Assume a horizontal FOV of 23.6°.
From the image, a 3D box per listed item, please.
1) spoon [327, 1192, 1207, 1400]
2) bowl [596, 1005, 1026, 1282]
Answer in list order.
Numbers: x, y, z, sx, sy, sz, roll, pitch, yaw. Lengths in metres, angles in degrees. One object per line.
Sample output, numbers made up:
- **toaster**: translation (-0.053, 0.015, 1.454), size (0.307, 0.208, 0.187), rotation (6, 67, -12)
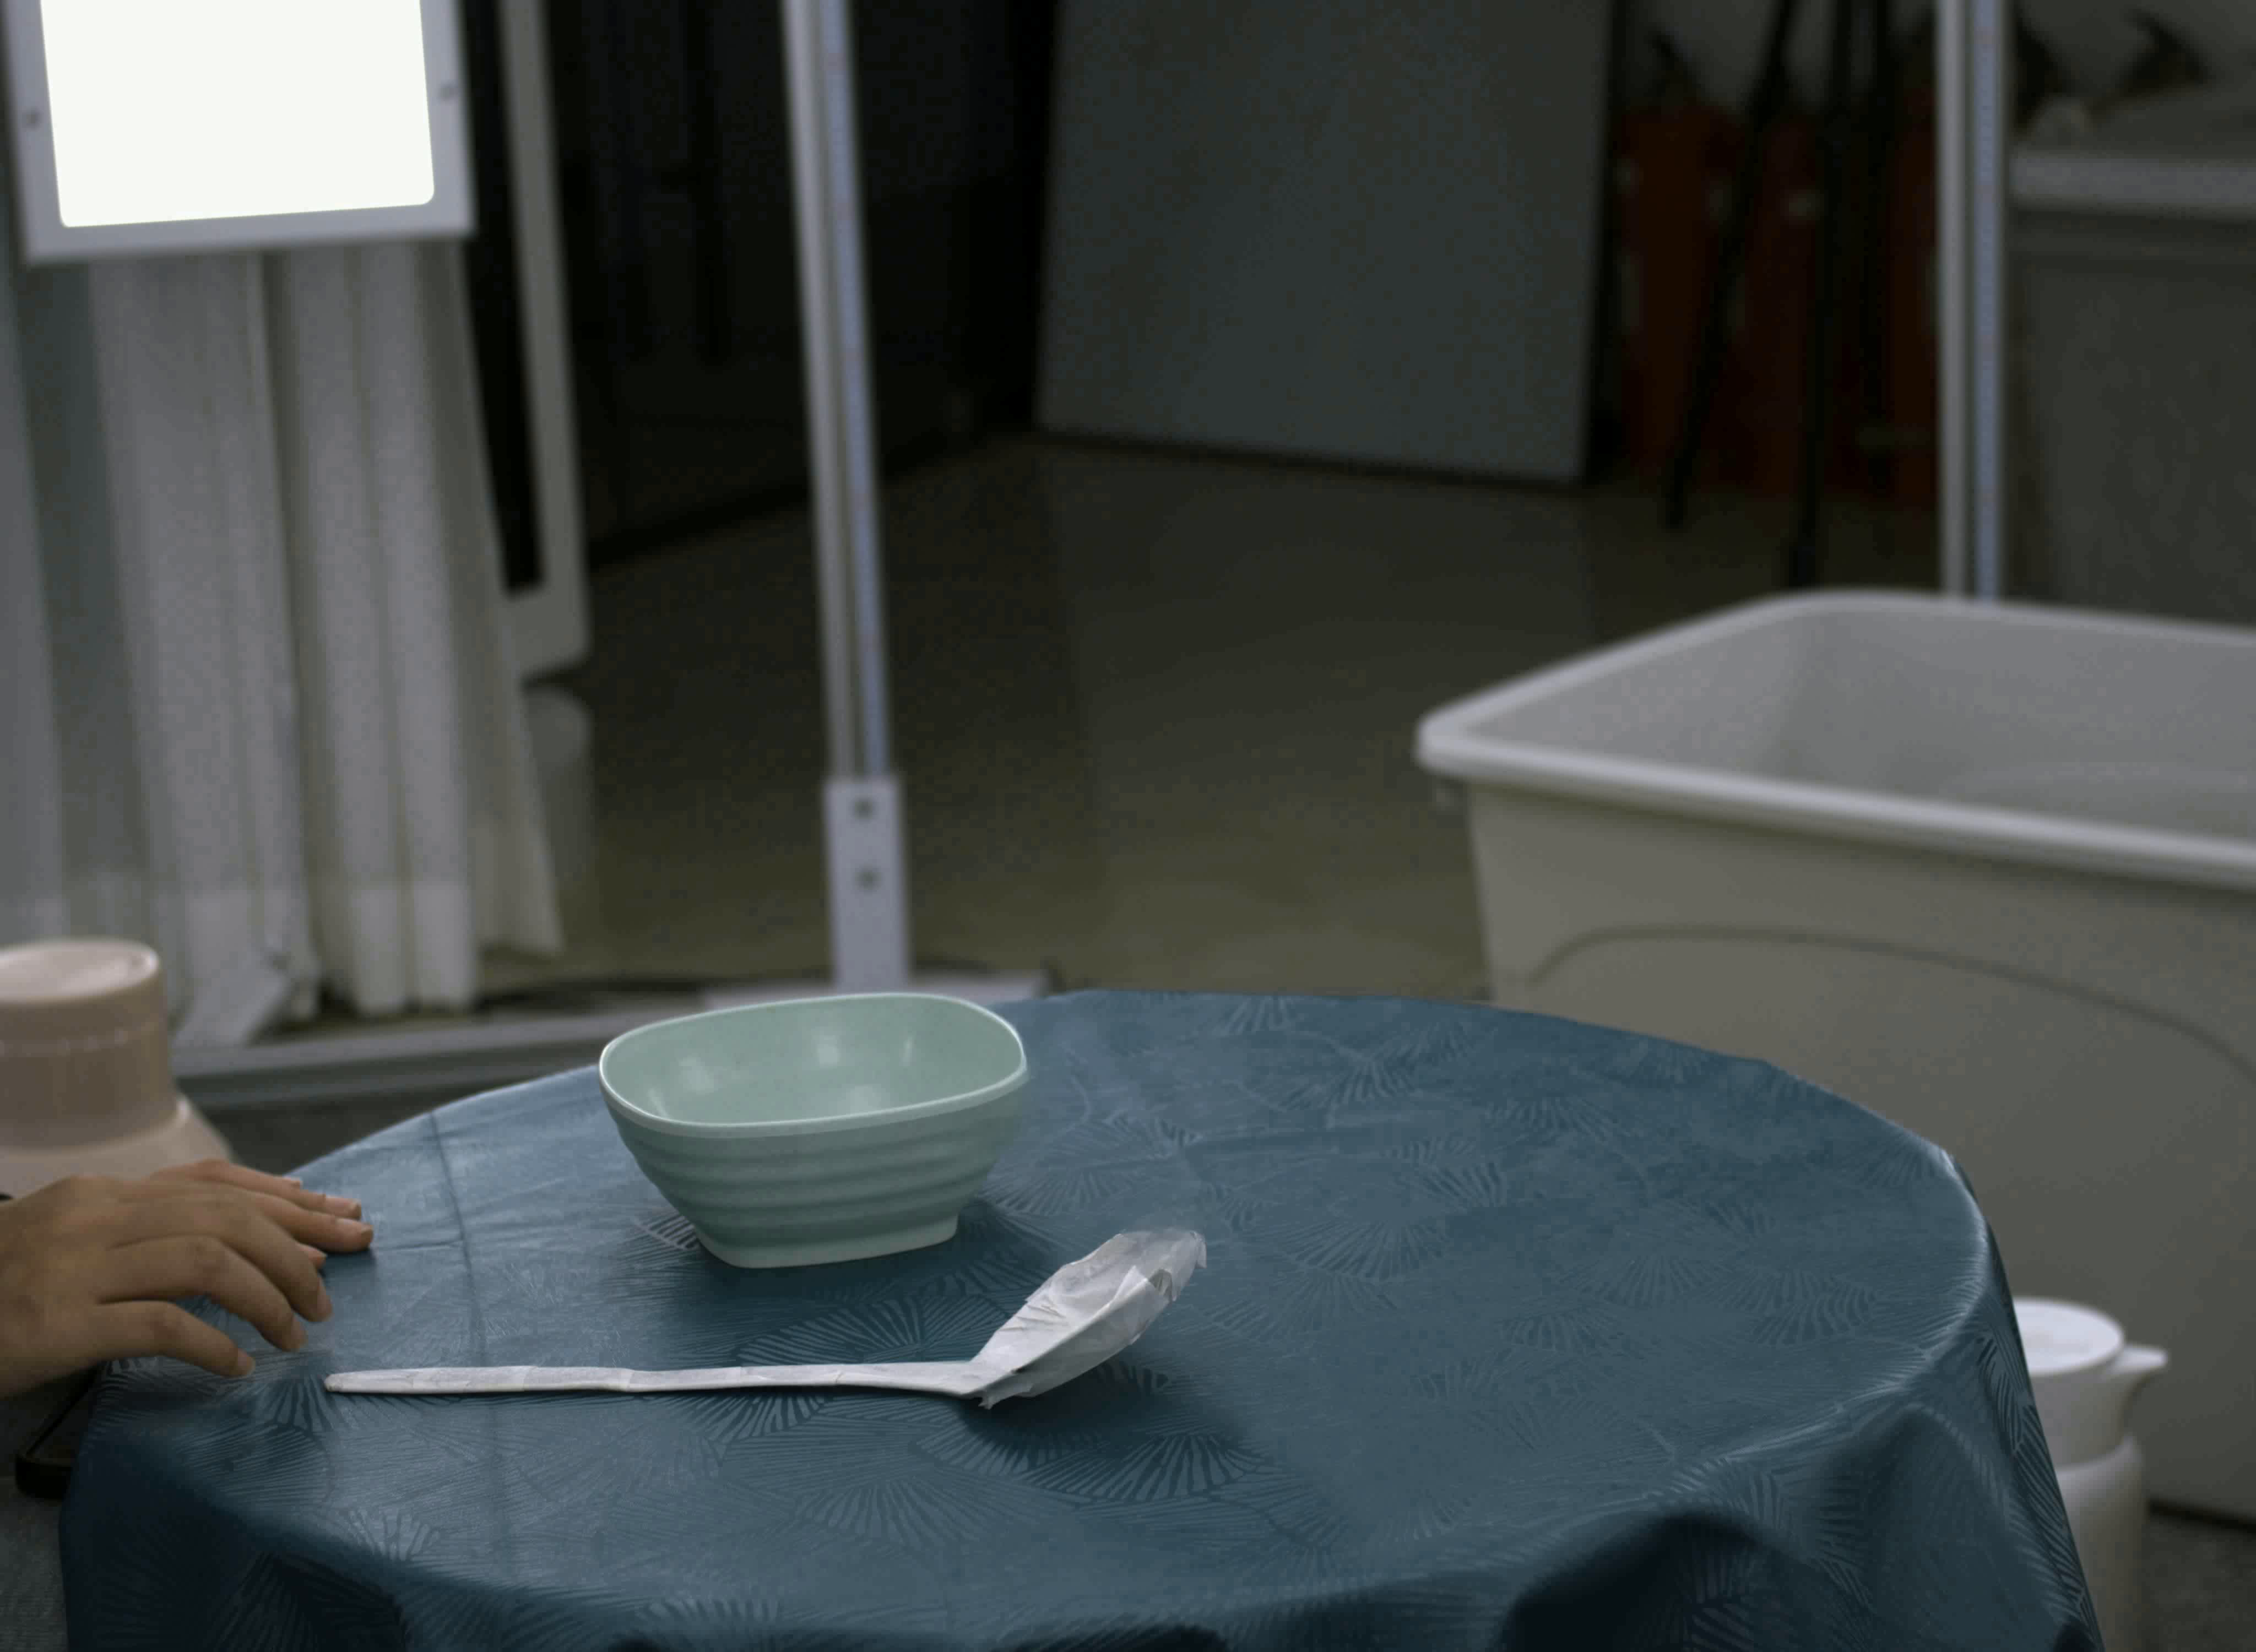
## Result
- **spoon**: translation (-0.109, 0.138, 1.612), size (0.276, 0.060, 0.100), rotation (0, 9, 14)
- **bowl**: translation (-0.101, 0.106, 1.753), size (0.149, 0.059, 0.152), rotation (-4, 14, 0)
